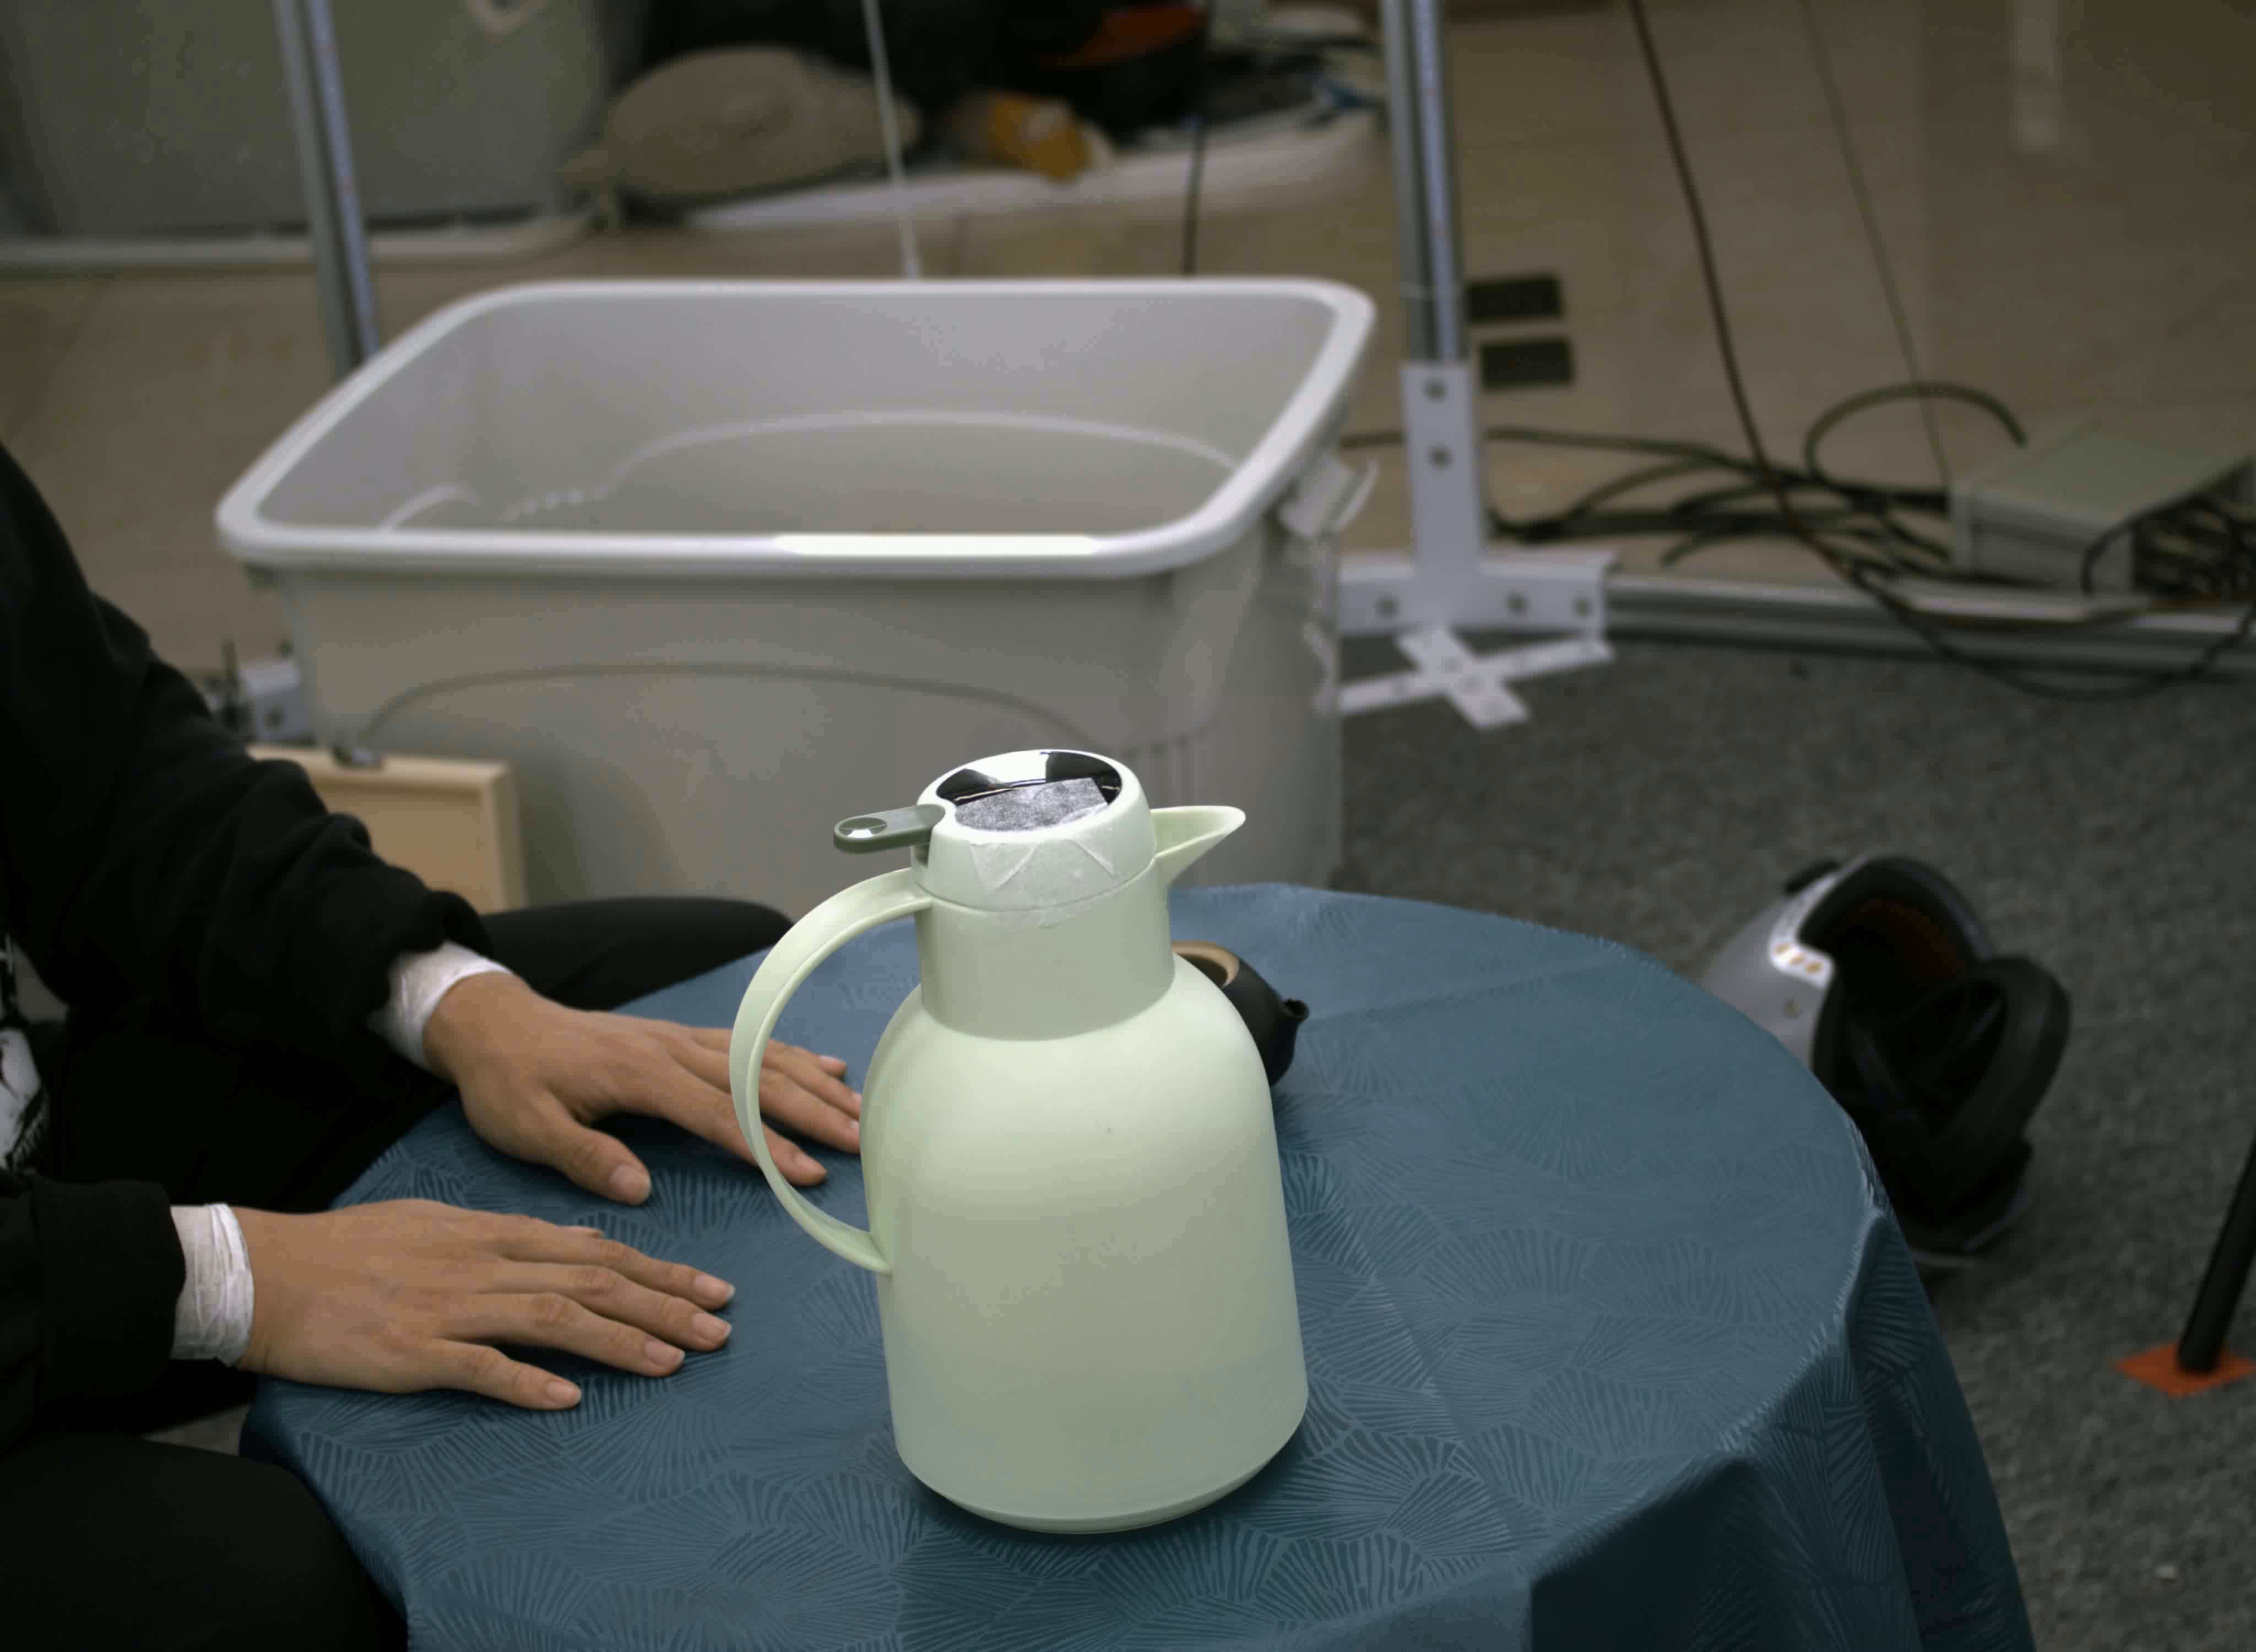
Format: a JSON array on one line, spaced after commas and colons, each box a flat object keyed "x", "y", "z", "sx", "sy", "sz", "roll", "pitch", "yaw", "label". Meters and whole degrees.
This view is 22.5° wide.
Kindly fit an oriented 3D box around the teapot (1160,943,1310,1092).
[{"x": 0.017, "y": 0.081, "z": 2.207, "sx": 0.132, "sy": 0.054, "sz": 0.090, "roll": 13, "pitch": 30, "yaw": 34, "label": "teapot"}]

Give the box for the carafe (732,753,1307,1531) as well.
[{"x": -0.035, "y": 0.106, "z": 1.929, "sx": 0.186, "sy": 0.261, "sz": 0.142, "roll": -16, "pitch": 29, "yaw": -12, "label": "carafe"}]
